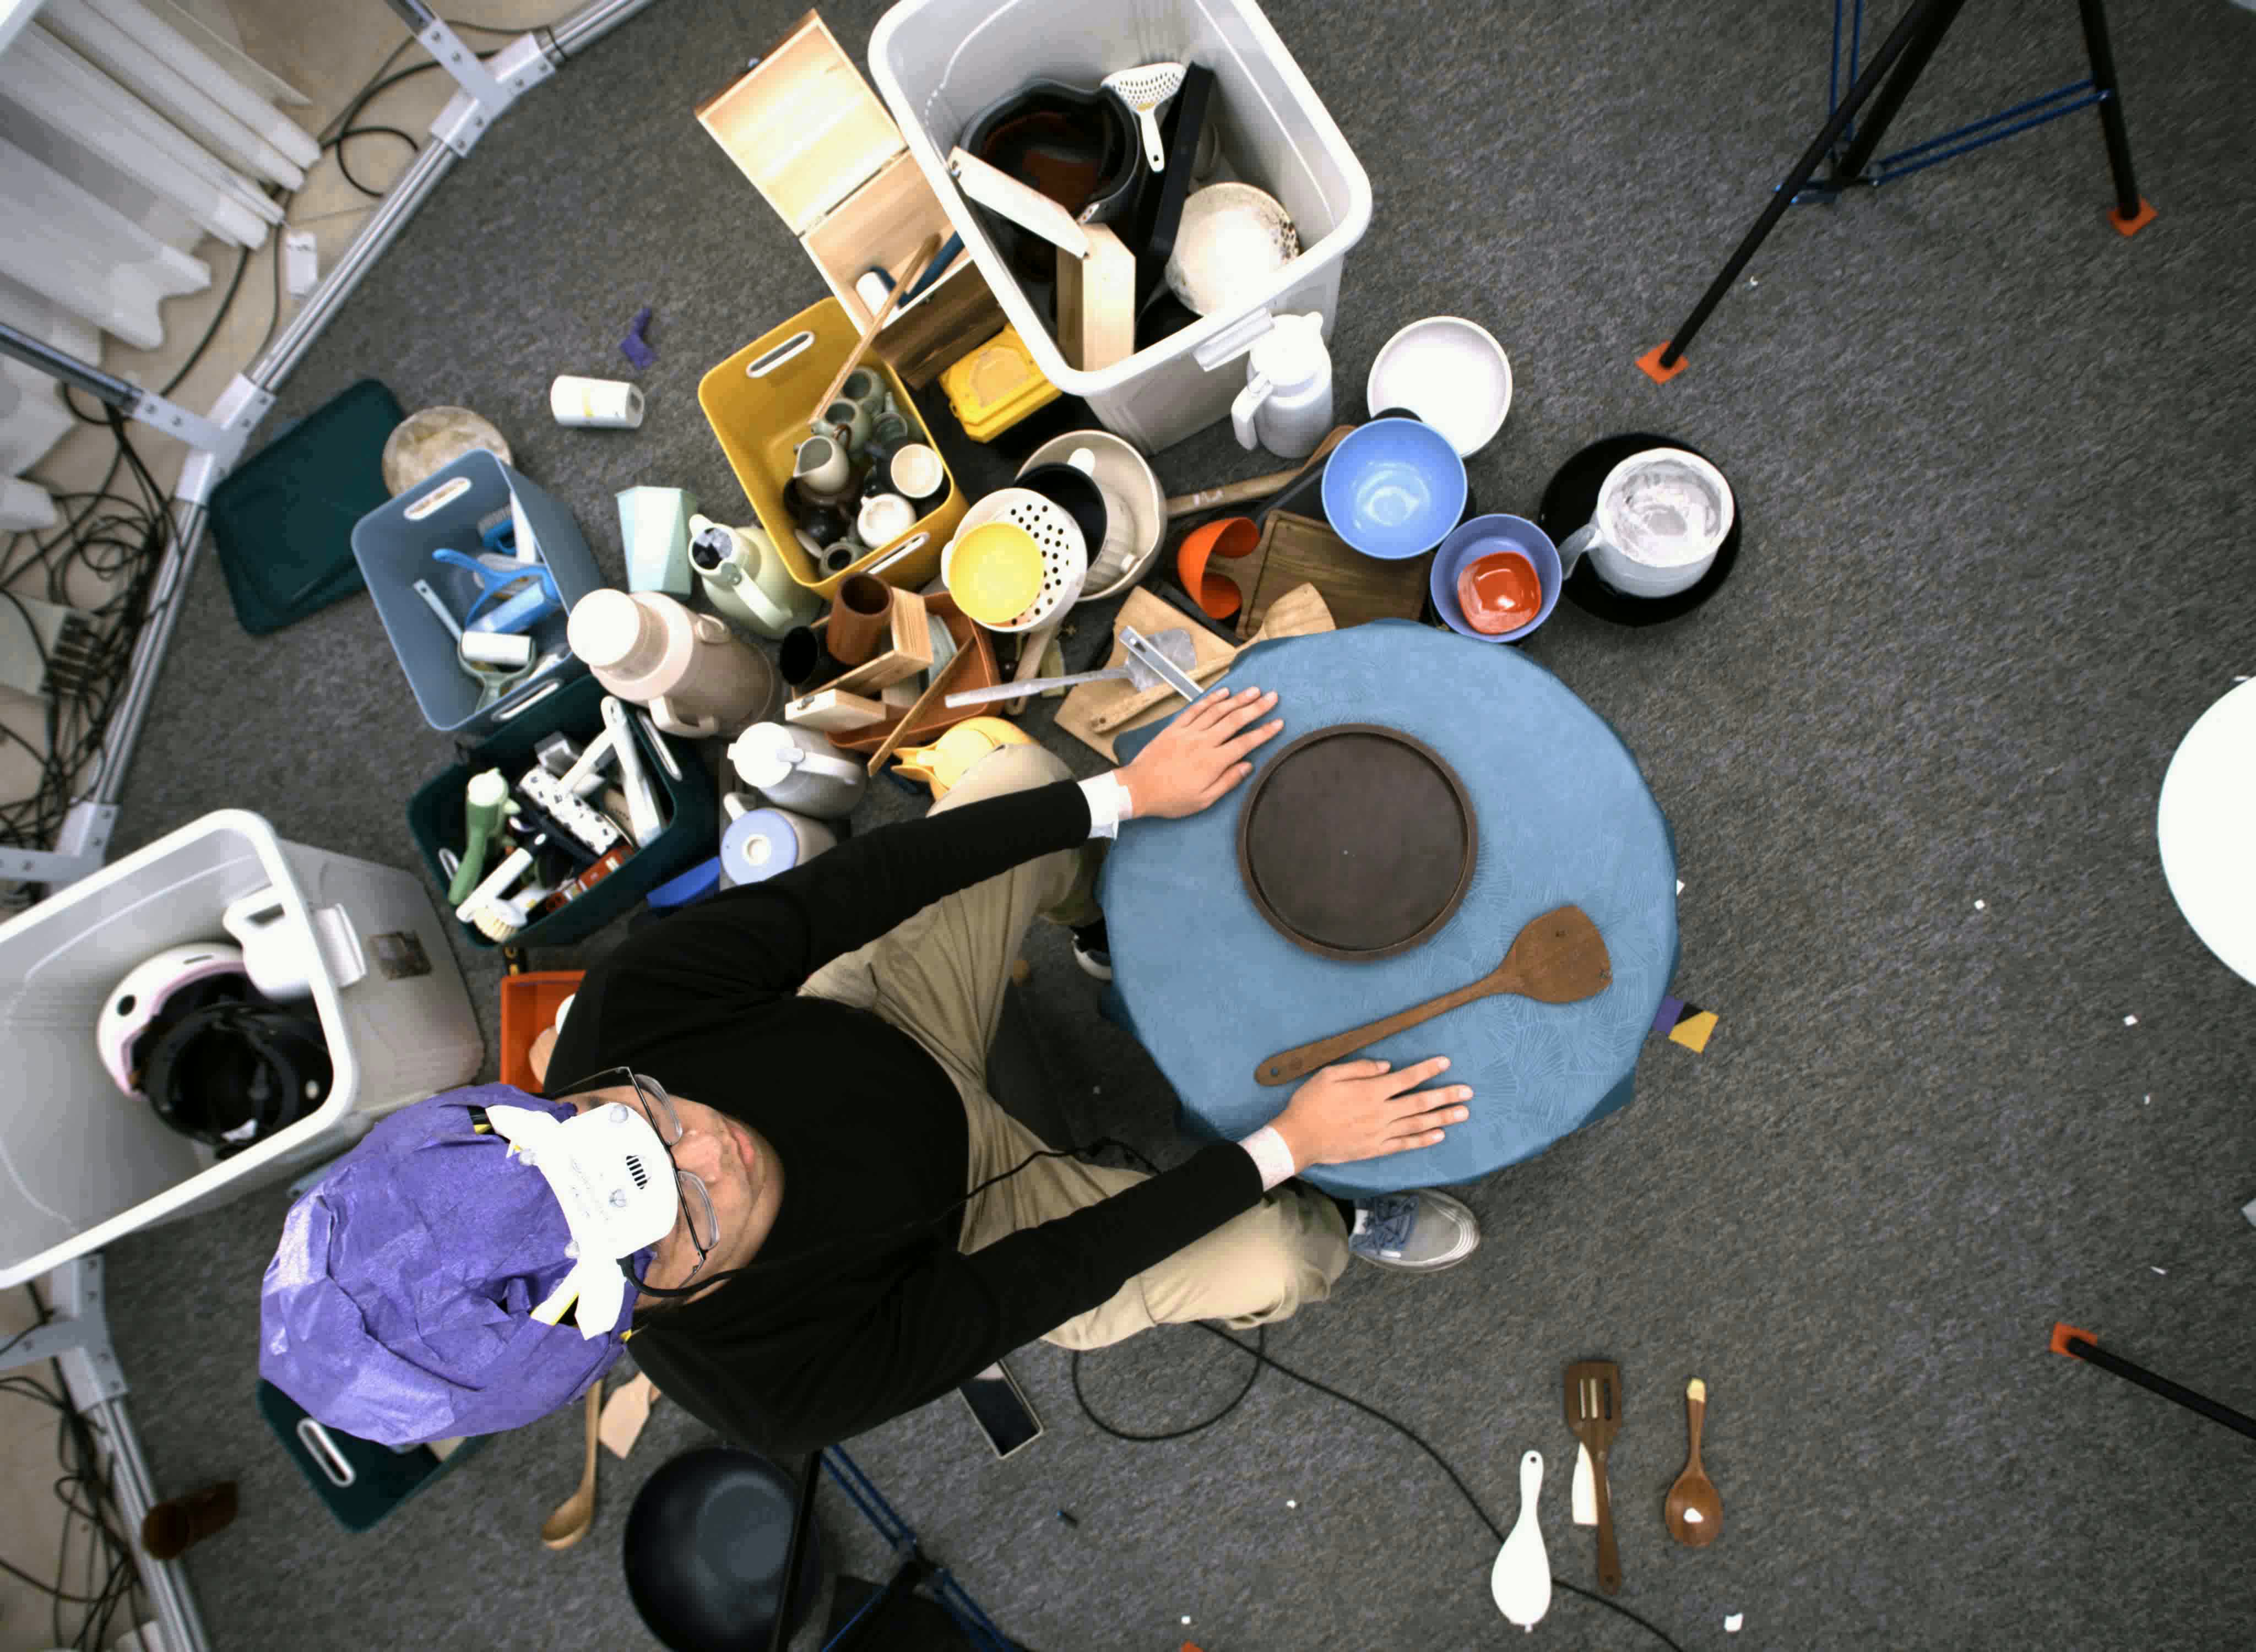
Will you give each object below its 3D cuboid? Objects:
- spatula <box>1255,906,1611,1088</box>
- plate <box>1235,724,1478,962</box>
[{"bbox_3d":[0.311,0.192,1.439,0.388,0.016,0.095,-24,82,9],"label":"spatula"},{"bbox_3d":[0.240,0.017,1.458,0.256,0.029,0.254,-1,87,9],"label":"plate"}]
